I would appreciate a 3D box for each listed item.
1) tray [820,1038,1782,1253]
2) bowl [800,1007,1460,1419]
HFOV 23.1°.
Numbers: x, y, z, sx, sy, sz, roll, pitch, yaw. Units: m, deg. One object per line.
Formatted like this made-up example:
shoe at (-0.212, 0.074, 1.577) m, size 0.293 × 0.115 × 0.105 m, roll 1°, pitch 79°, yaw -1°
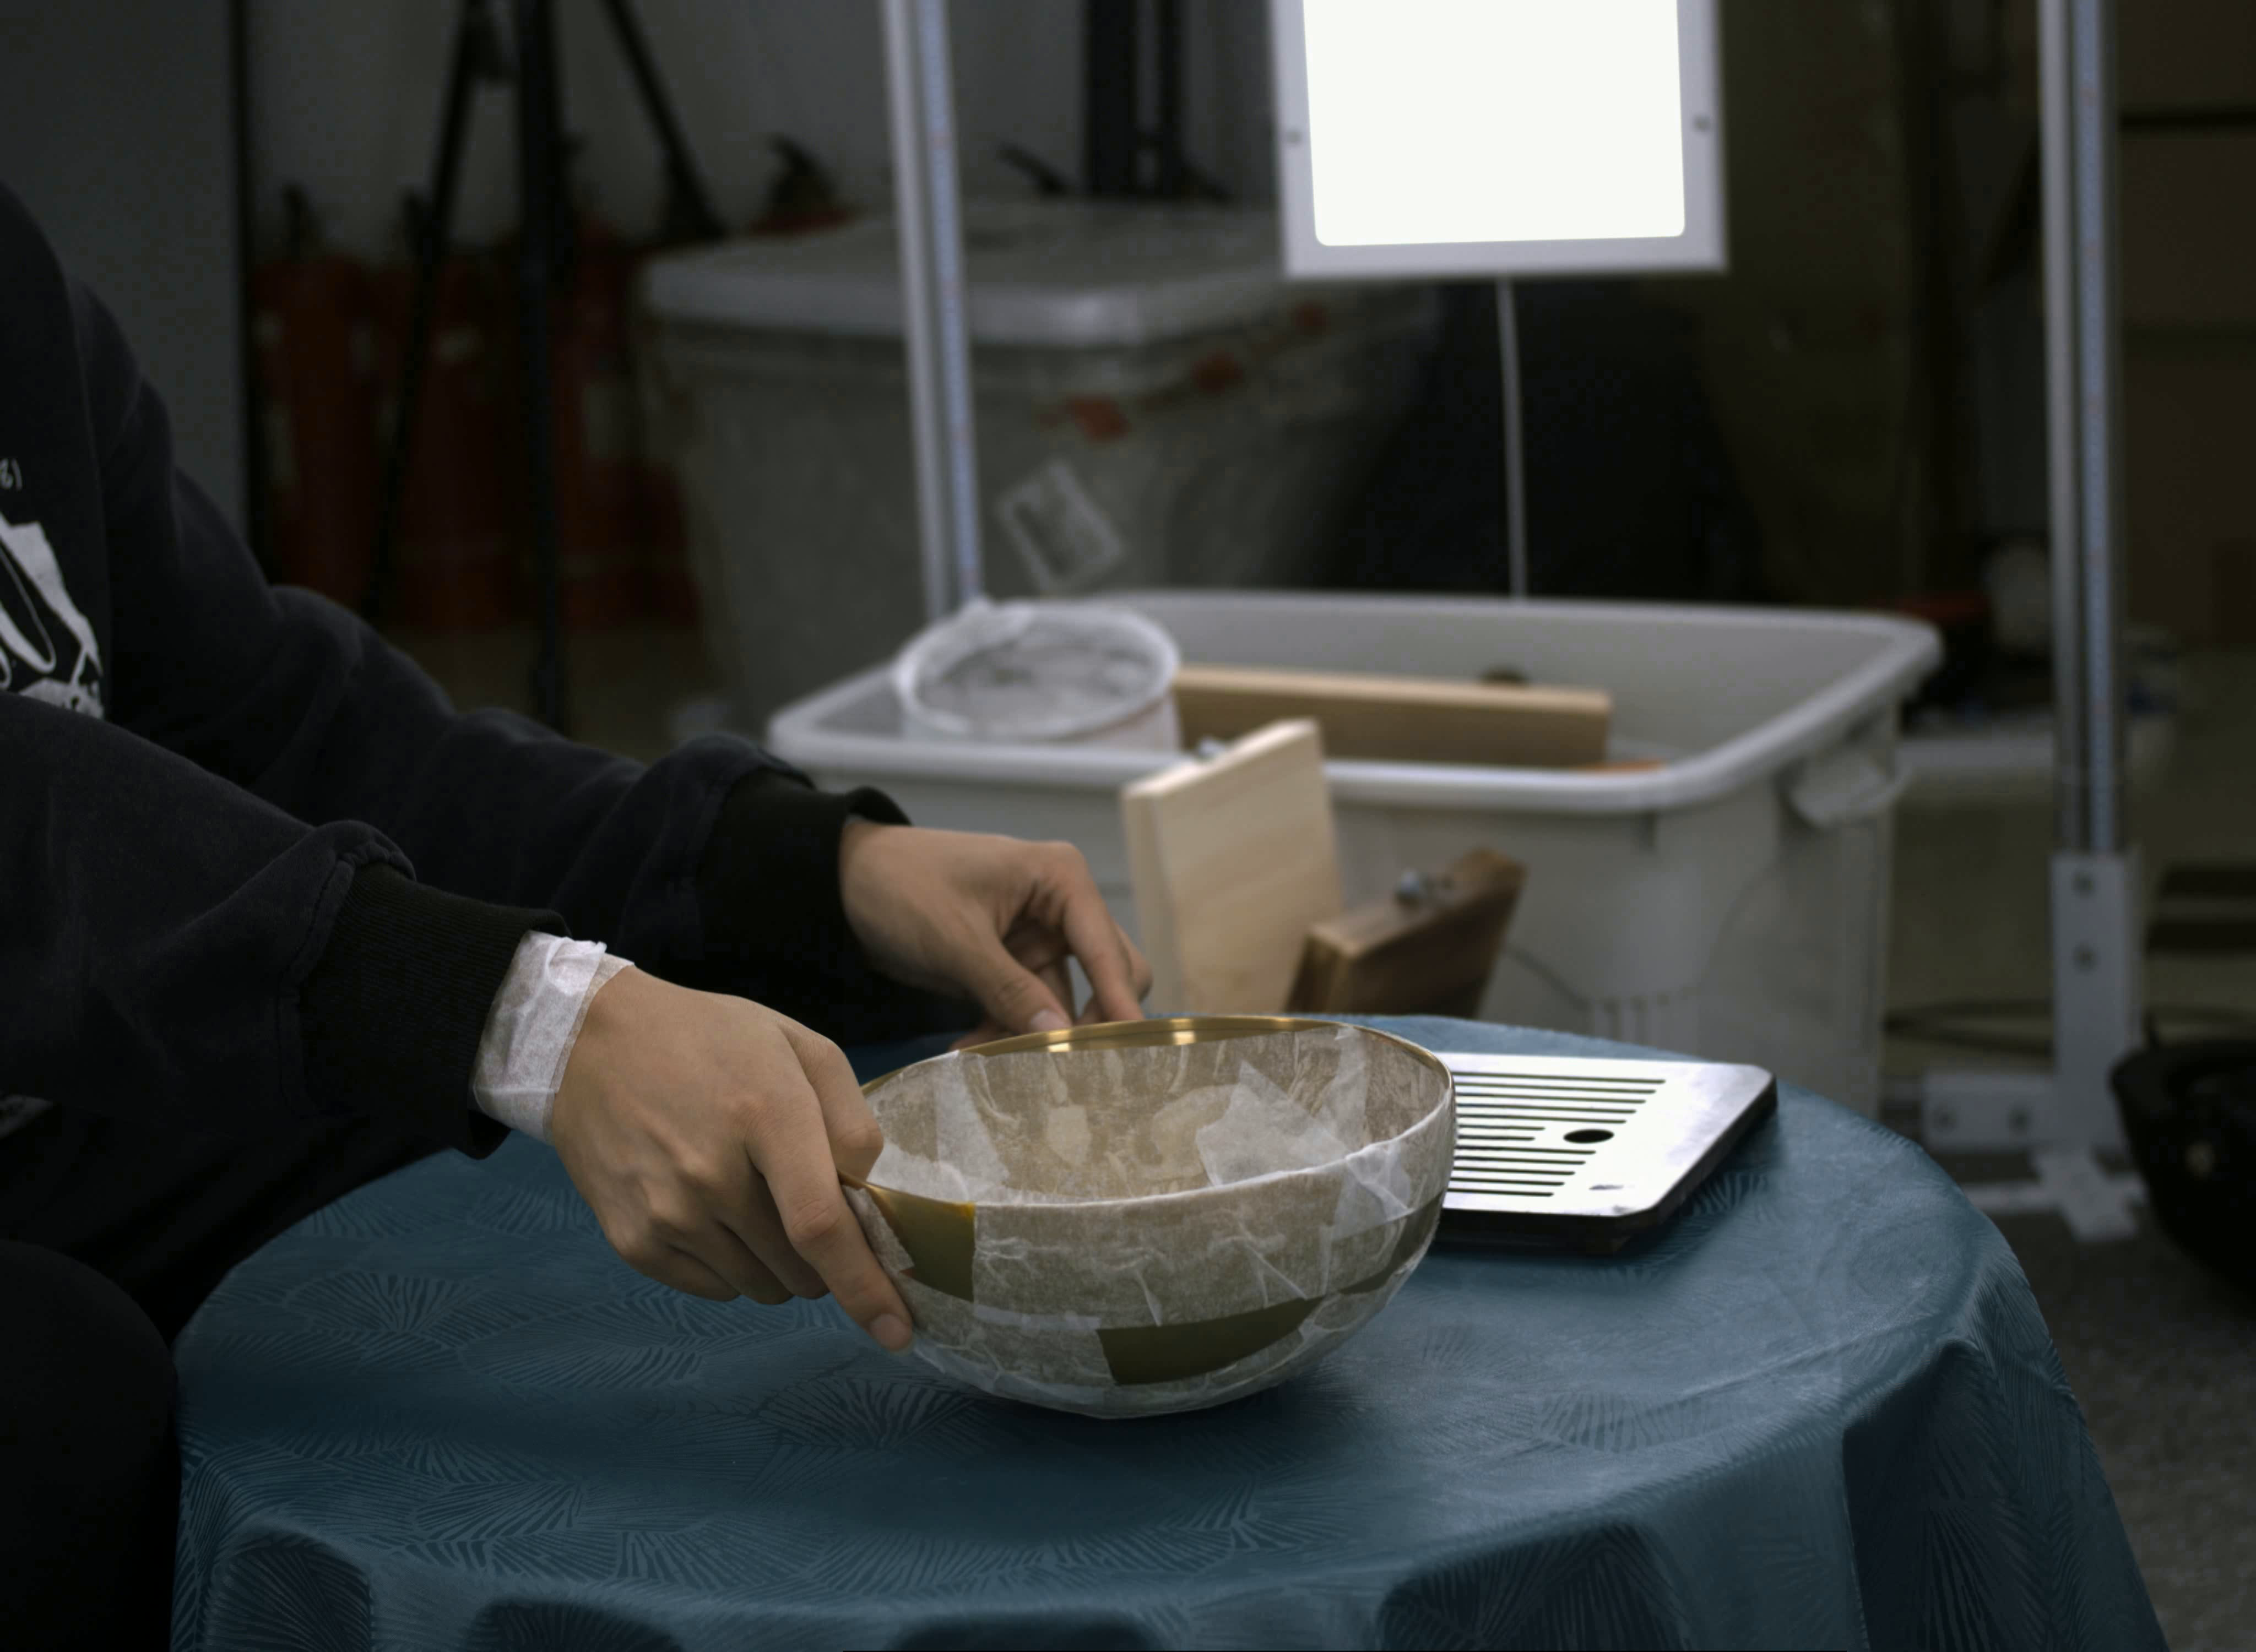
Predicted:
tray at (0.061, 0.109, 1.911) m, size 0.311 × 0.019 × 0.167 m, roll 1°, pitch 15°, yaw 24°
bowl at (0.006, 0.126, 1.700) m, size 0.214 × 0.095 × 0.214 m, roll -6°, pitch 14°, yaw 0°
